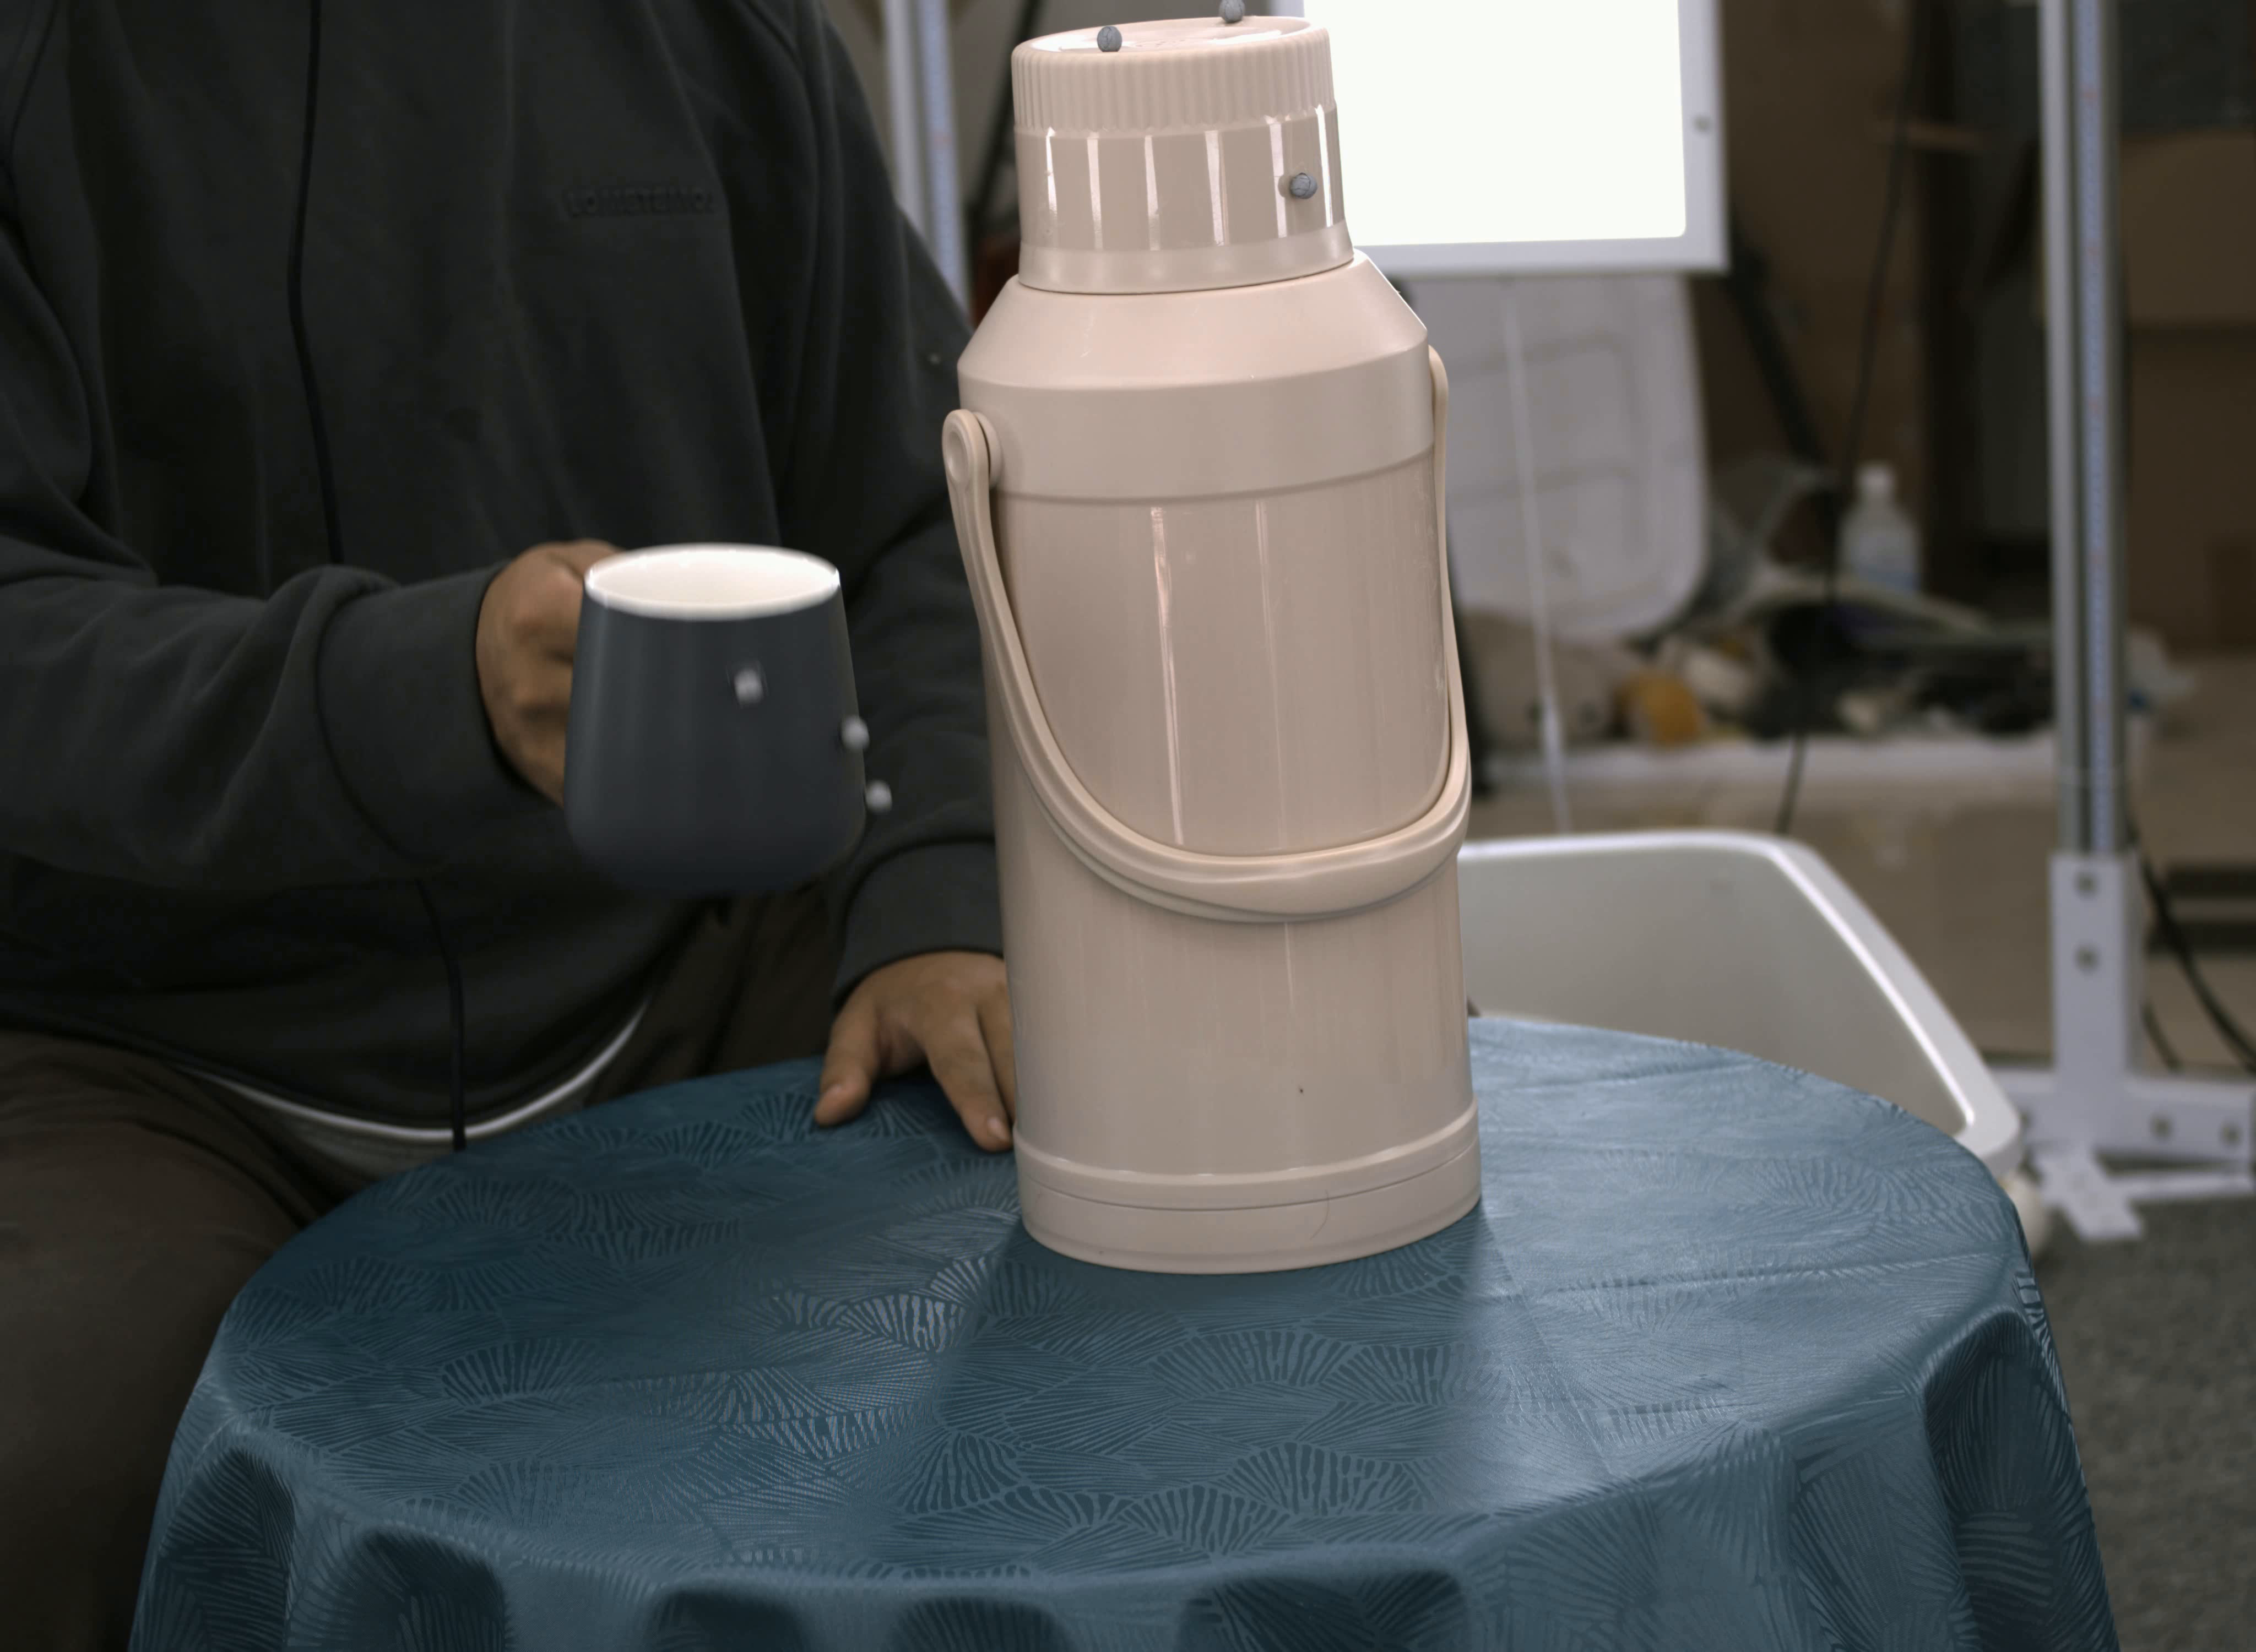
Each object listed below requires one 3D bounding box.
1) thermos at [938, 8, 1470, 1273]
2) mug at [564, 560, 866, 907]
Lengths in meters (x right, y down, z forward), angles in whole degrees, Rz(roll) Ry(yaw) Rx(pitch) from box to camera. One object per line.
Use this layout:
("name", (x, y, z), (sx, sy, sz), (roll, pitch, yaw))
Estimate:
("thermos", (0.021, -0.067, 1.843), (0.172, 0.408, 0.210), (-11, 15, -23))
("mug", (-0.132, -0.033, 1.710), (0.092, 0.090, 0.124), (-6, 19, -16))
